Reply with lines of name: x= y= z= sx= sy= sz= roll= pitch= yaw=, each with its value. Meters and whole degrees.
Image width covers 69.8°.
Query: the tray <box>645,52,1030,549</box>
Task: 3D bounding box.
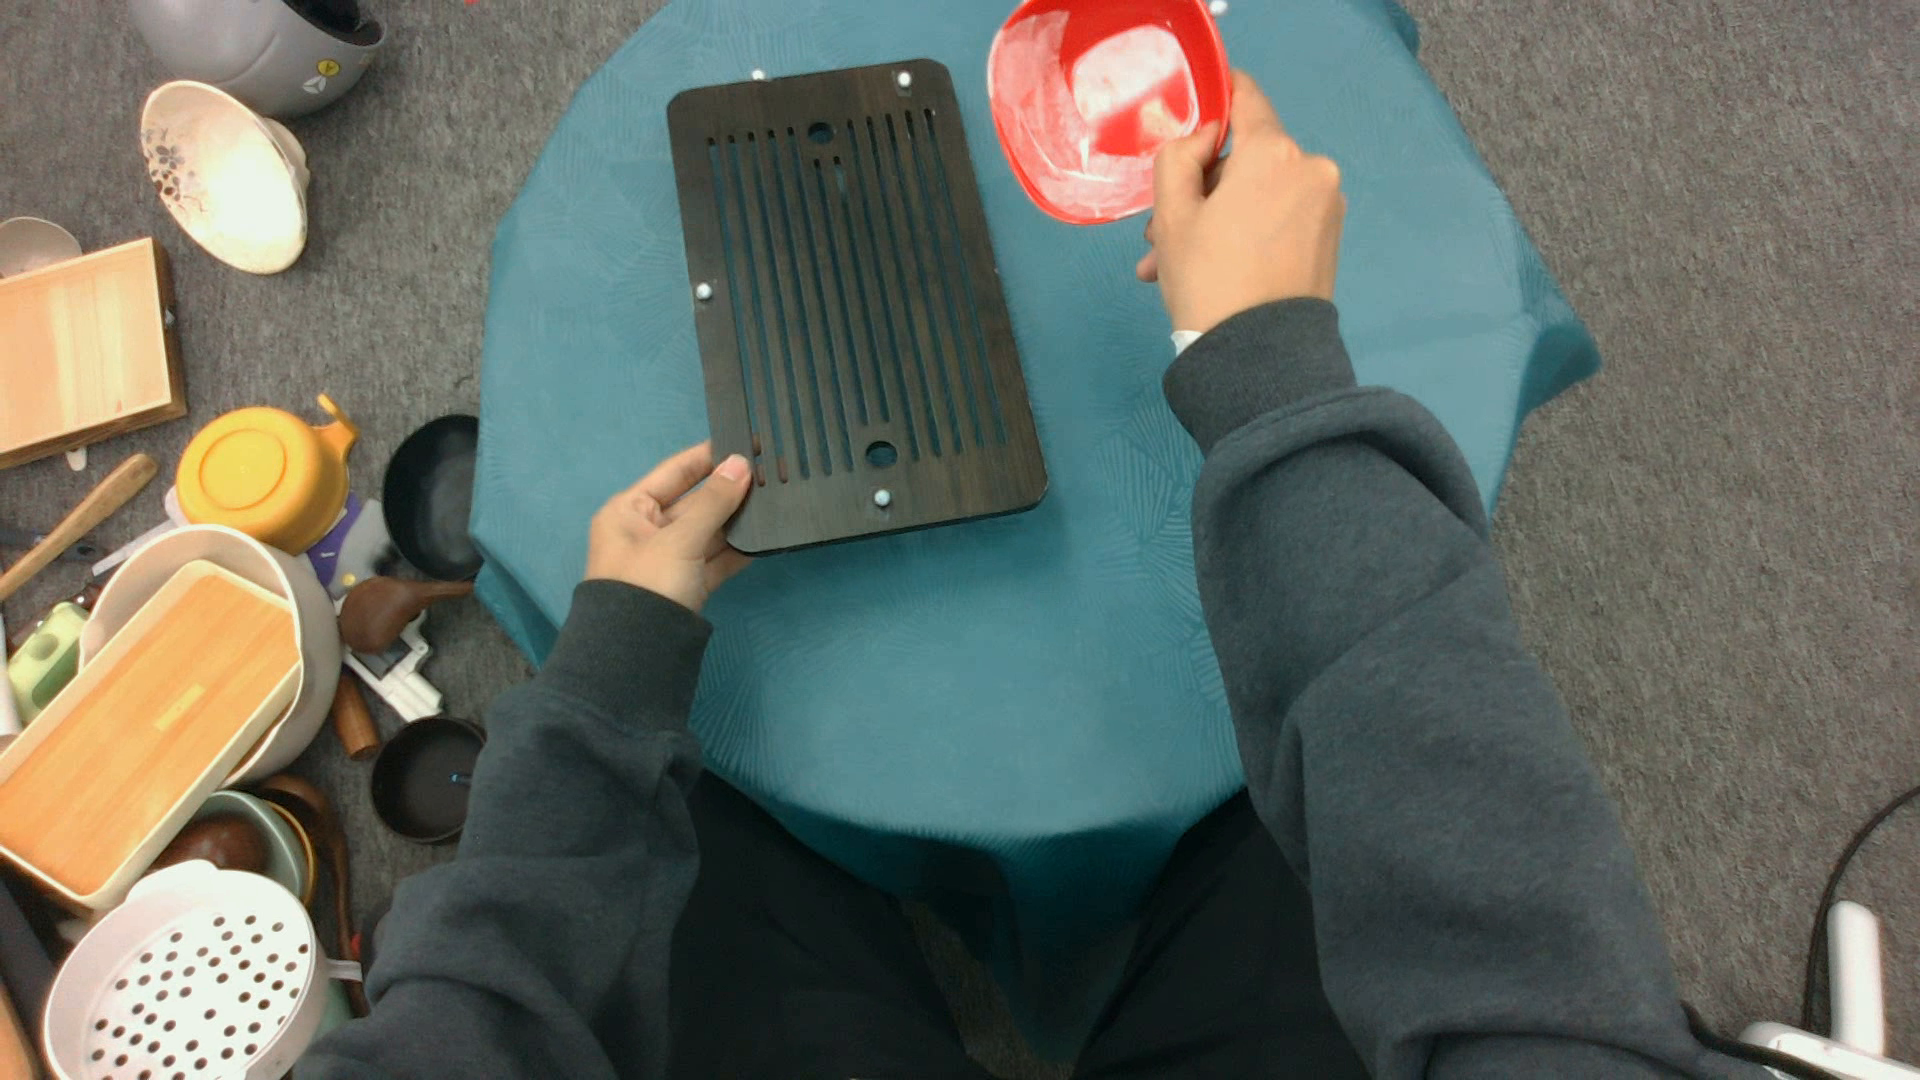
tray: x=-0.074 y=-0.142 z=0.762 sx=0.170 sy=0.018 sz=0.307 roll=-10 pitch=65 yaw=-5

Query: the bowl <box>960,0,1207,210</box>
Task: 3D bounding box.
bowl: x=0.063 y=-0.213 z=0.639 sx=0.119 sy=0.051 sz=0.118 roll=7 pitch=107 yaw=22
